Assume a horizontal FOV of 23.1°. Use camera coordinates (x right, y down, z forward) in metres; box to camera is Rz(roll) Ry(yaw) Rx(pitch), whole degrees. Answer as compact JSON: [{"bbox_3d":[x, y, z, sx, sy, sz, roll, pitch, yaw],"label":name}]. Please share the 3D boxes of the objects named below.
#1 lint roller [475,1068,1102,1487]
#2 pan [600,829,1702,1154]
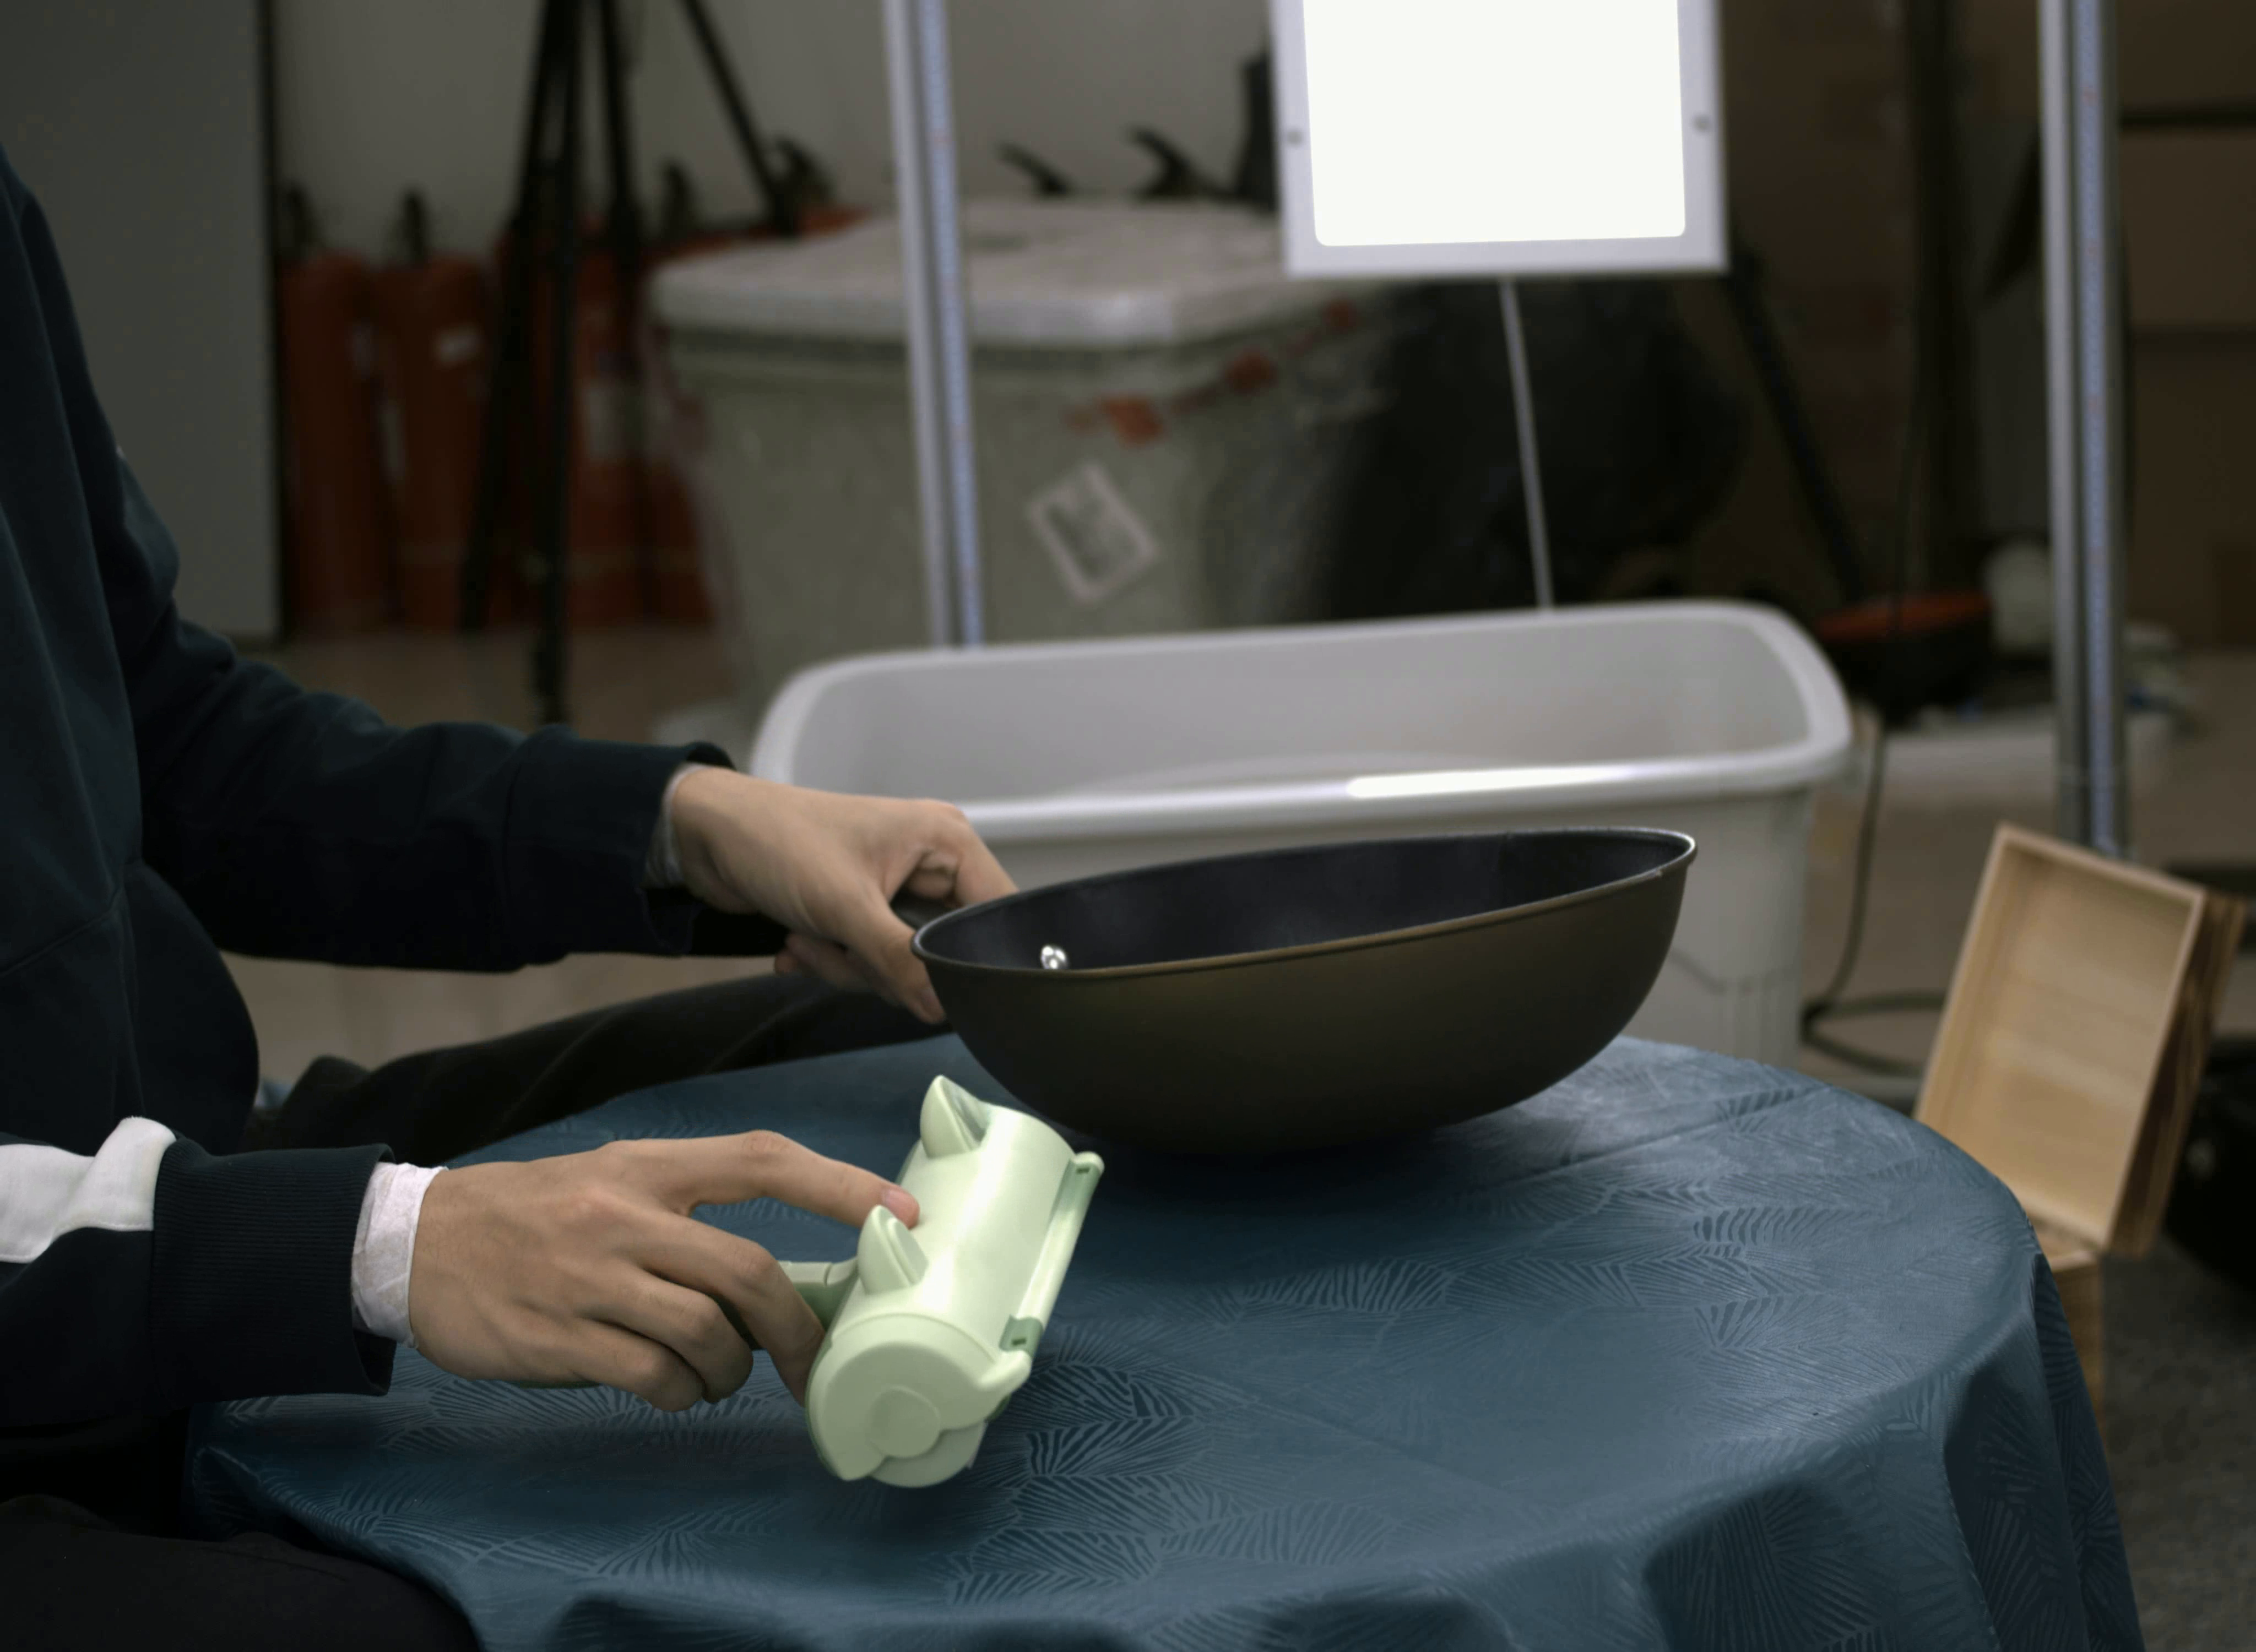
[{"bbox_3d":[-0.110,0.130,1.670,0.184,0.082,0.197,2,17,8],"label":"lint roller"},{"bbox_3d":[-0.008,0.065,1.979,0.473,0.087,0.281,-4,6,36],"label":"pan"}]
